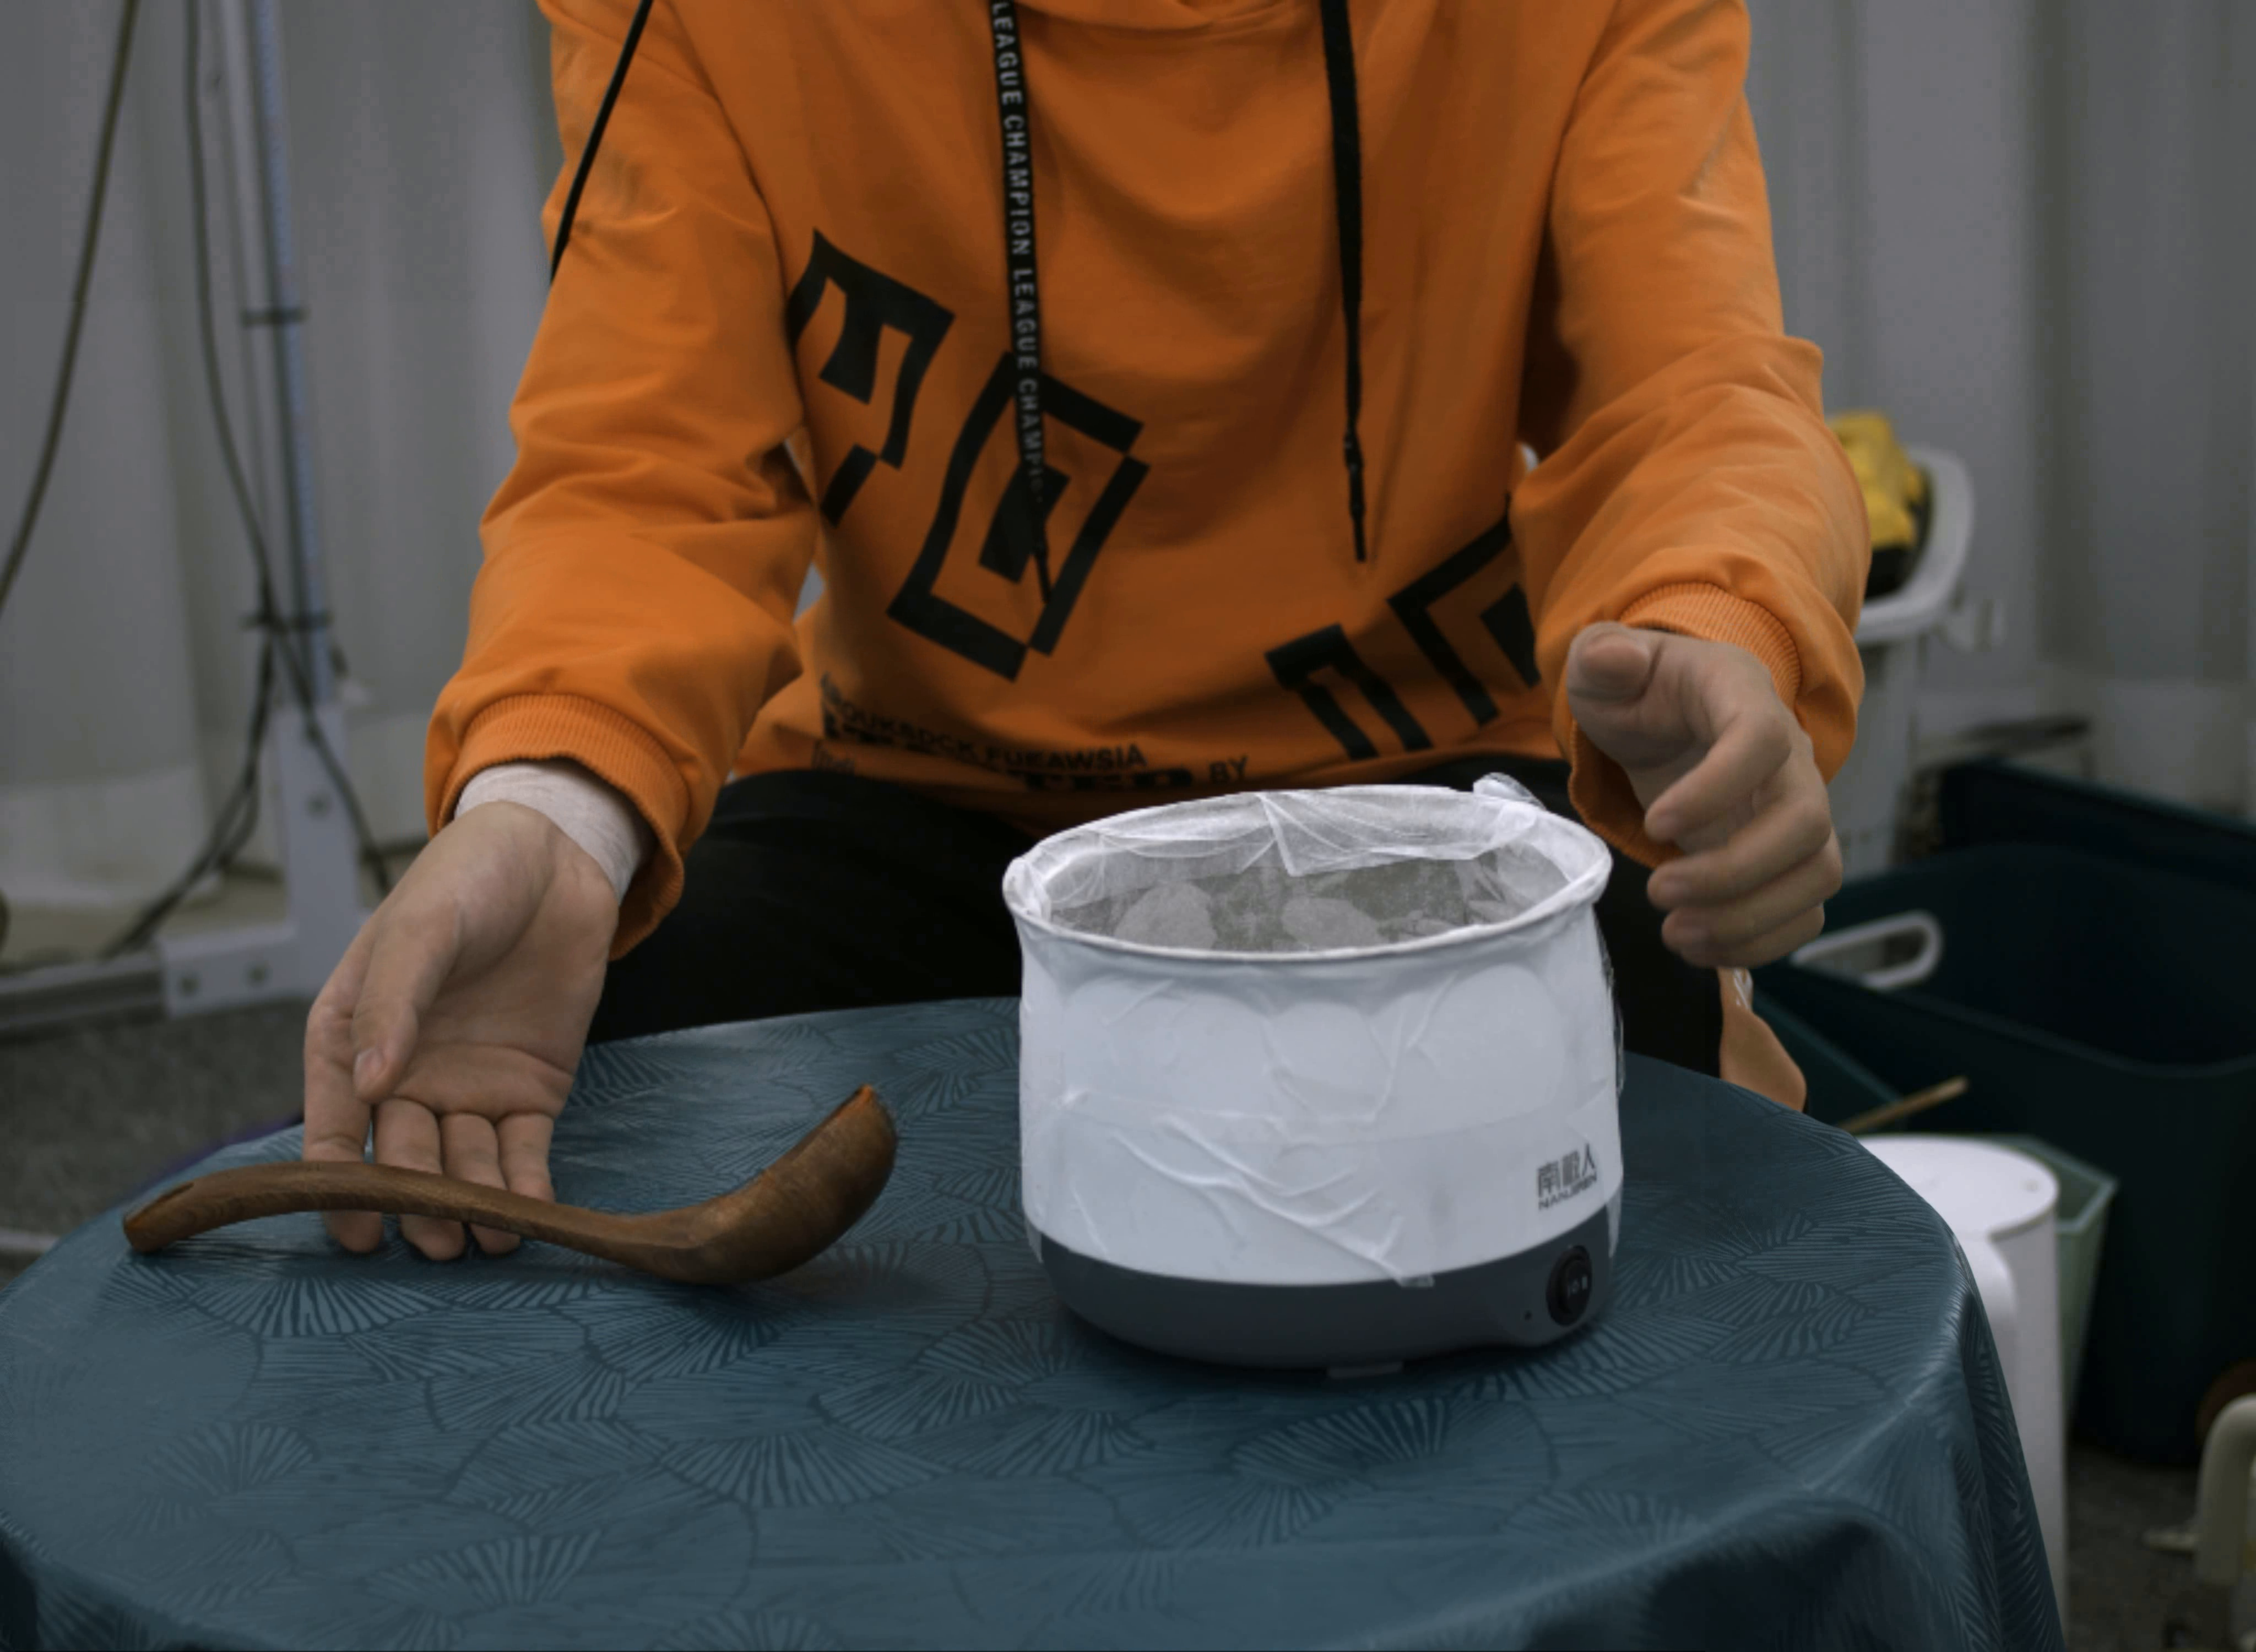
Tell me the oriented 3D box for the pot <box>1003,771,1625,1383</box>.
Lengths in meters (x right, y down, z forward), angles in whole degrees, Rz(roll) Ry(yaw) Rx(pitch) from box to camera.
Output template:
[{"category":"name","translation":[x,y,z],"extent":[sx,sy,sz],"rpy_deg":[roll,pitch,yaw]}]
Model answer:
[{"category":"pot","translation":[0.071,0.066,1.617],"extent":[0.179,0.136,0.234],"rpy_deg":[8,19,35]}]

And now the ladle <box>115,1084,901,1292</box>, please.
[{"category":"ladle","translation":[-0.192,0.105,1.666],"extent":[0.260,0.065,0.077],"rpy_deg":[2,13,19]}]
